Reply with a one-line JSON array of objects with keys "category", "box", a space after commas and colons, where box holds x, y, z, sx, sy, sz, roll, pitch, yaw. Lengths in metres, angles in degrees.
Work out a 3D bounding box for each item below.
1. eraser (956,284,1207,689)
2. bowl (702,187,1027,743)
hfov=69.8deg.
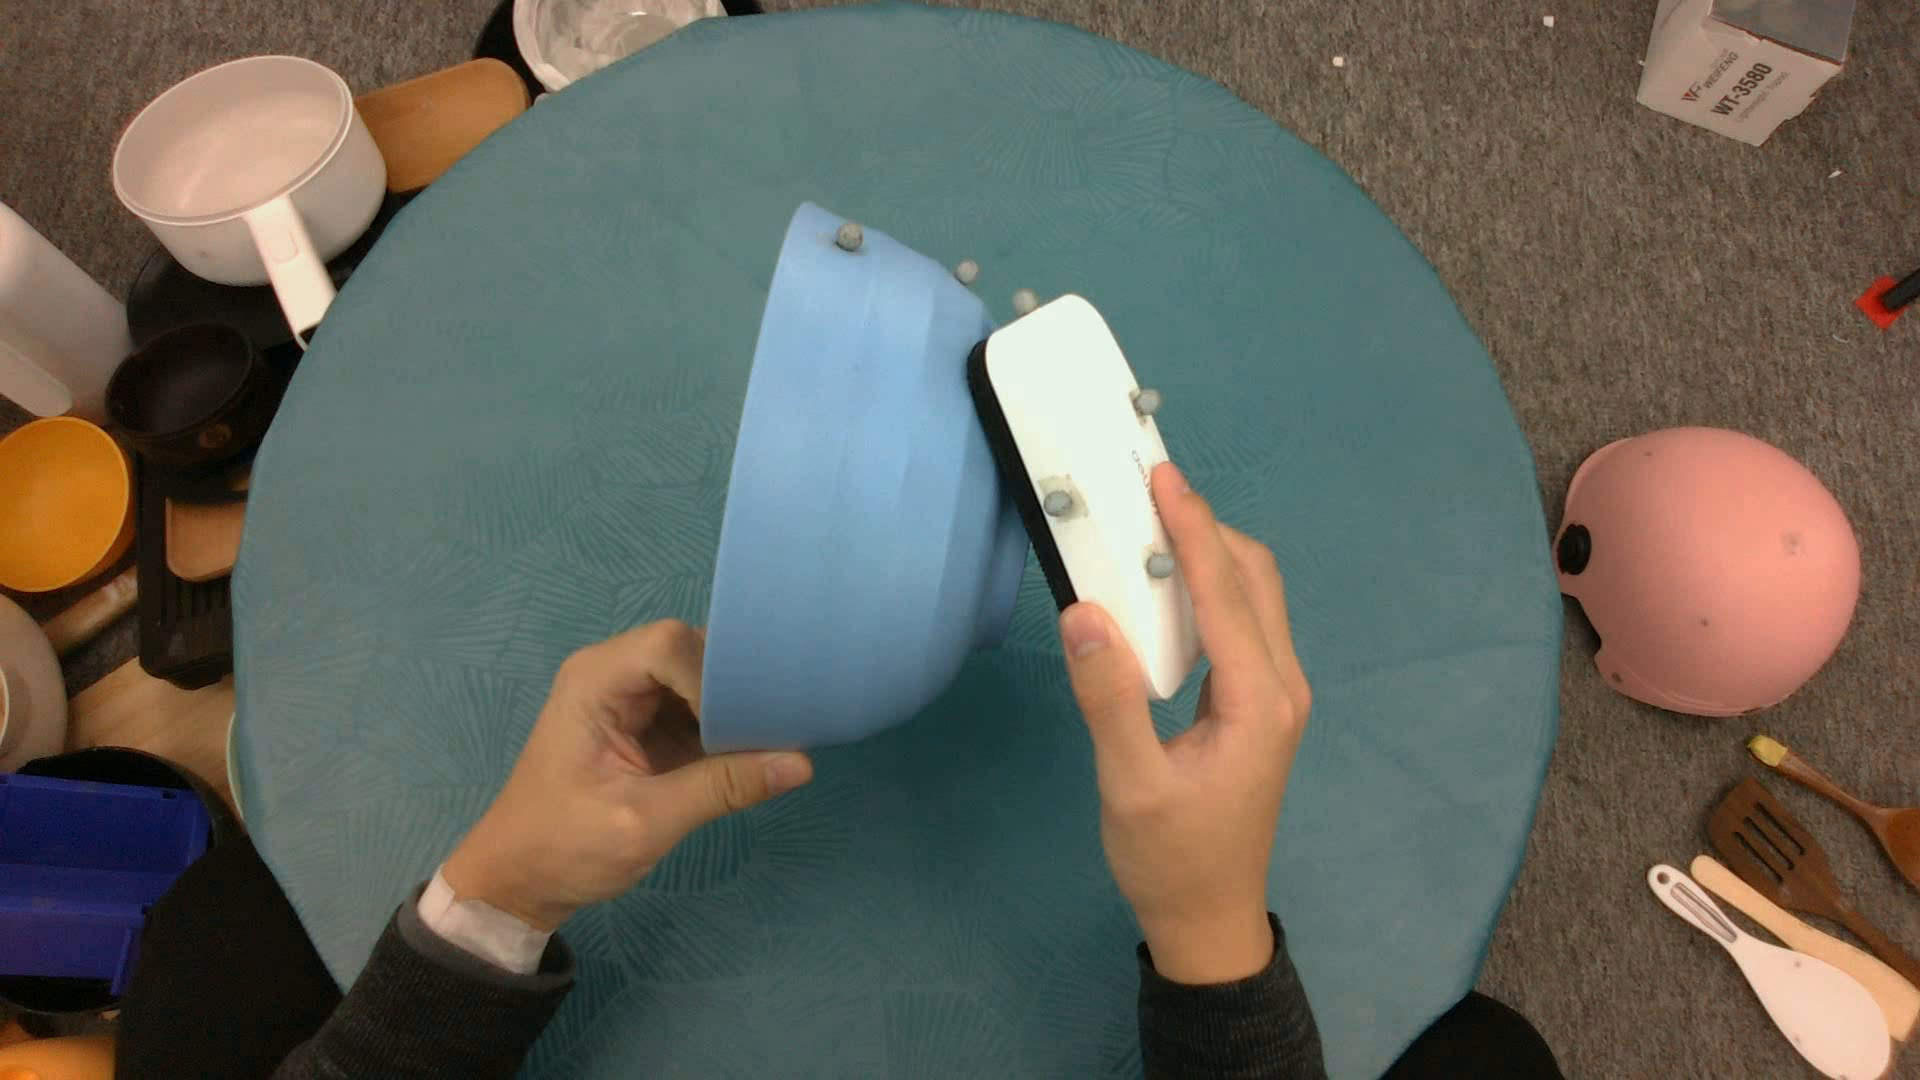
[{"category": "eraser", "box": [0.044, -0.017, 0.450, 0.064, 0.034, 0.131, -38, 108, -55]}, {"category": "bowl", "box": [-0.027, -0.018, 0.492, 0.095, 0.196, 0.197, 10, 72, -5]}]
